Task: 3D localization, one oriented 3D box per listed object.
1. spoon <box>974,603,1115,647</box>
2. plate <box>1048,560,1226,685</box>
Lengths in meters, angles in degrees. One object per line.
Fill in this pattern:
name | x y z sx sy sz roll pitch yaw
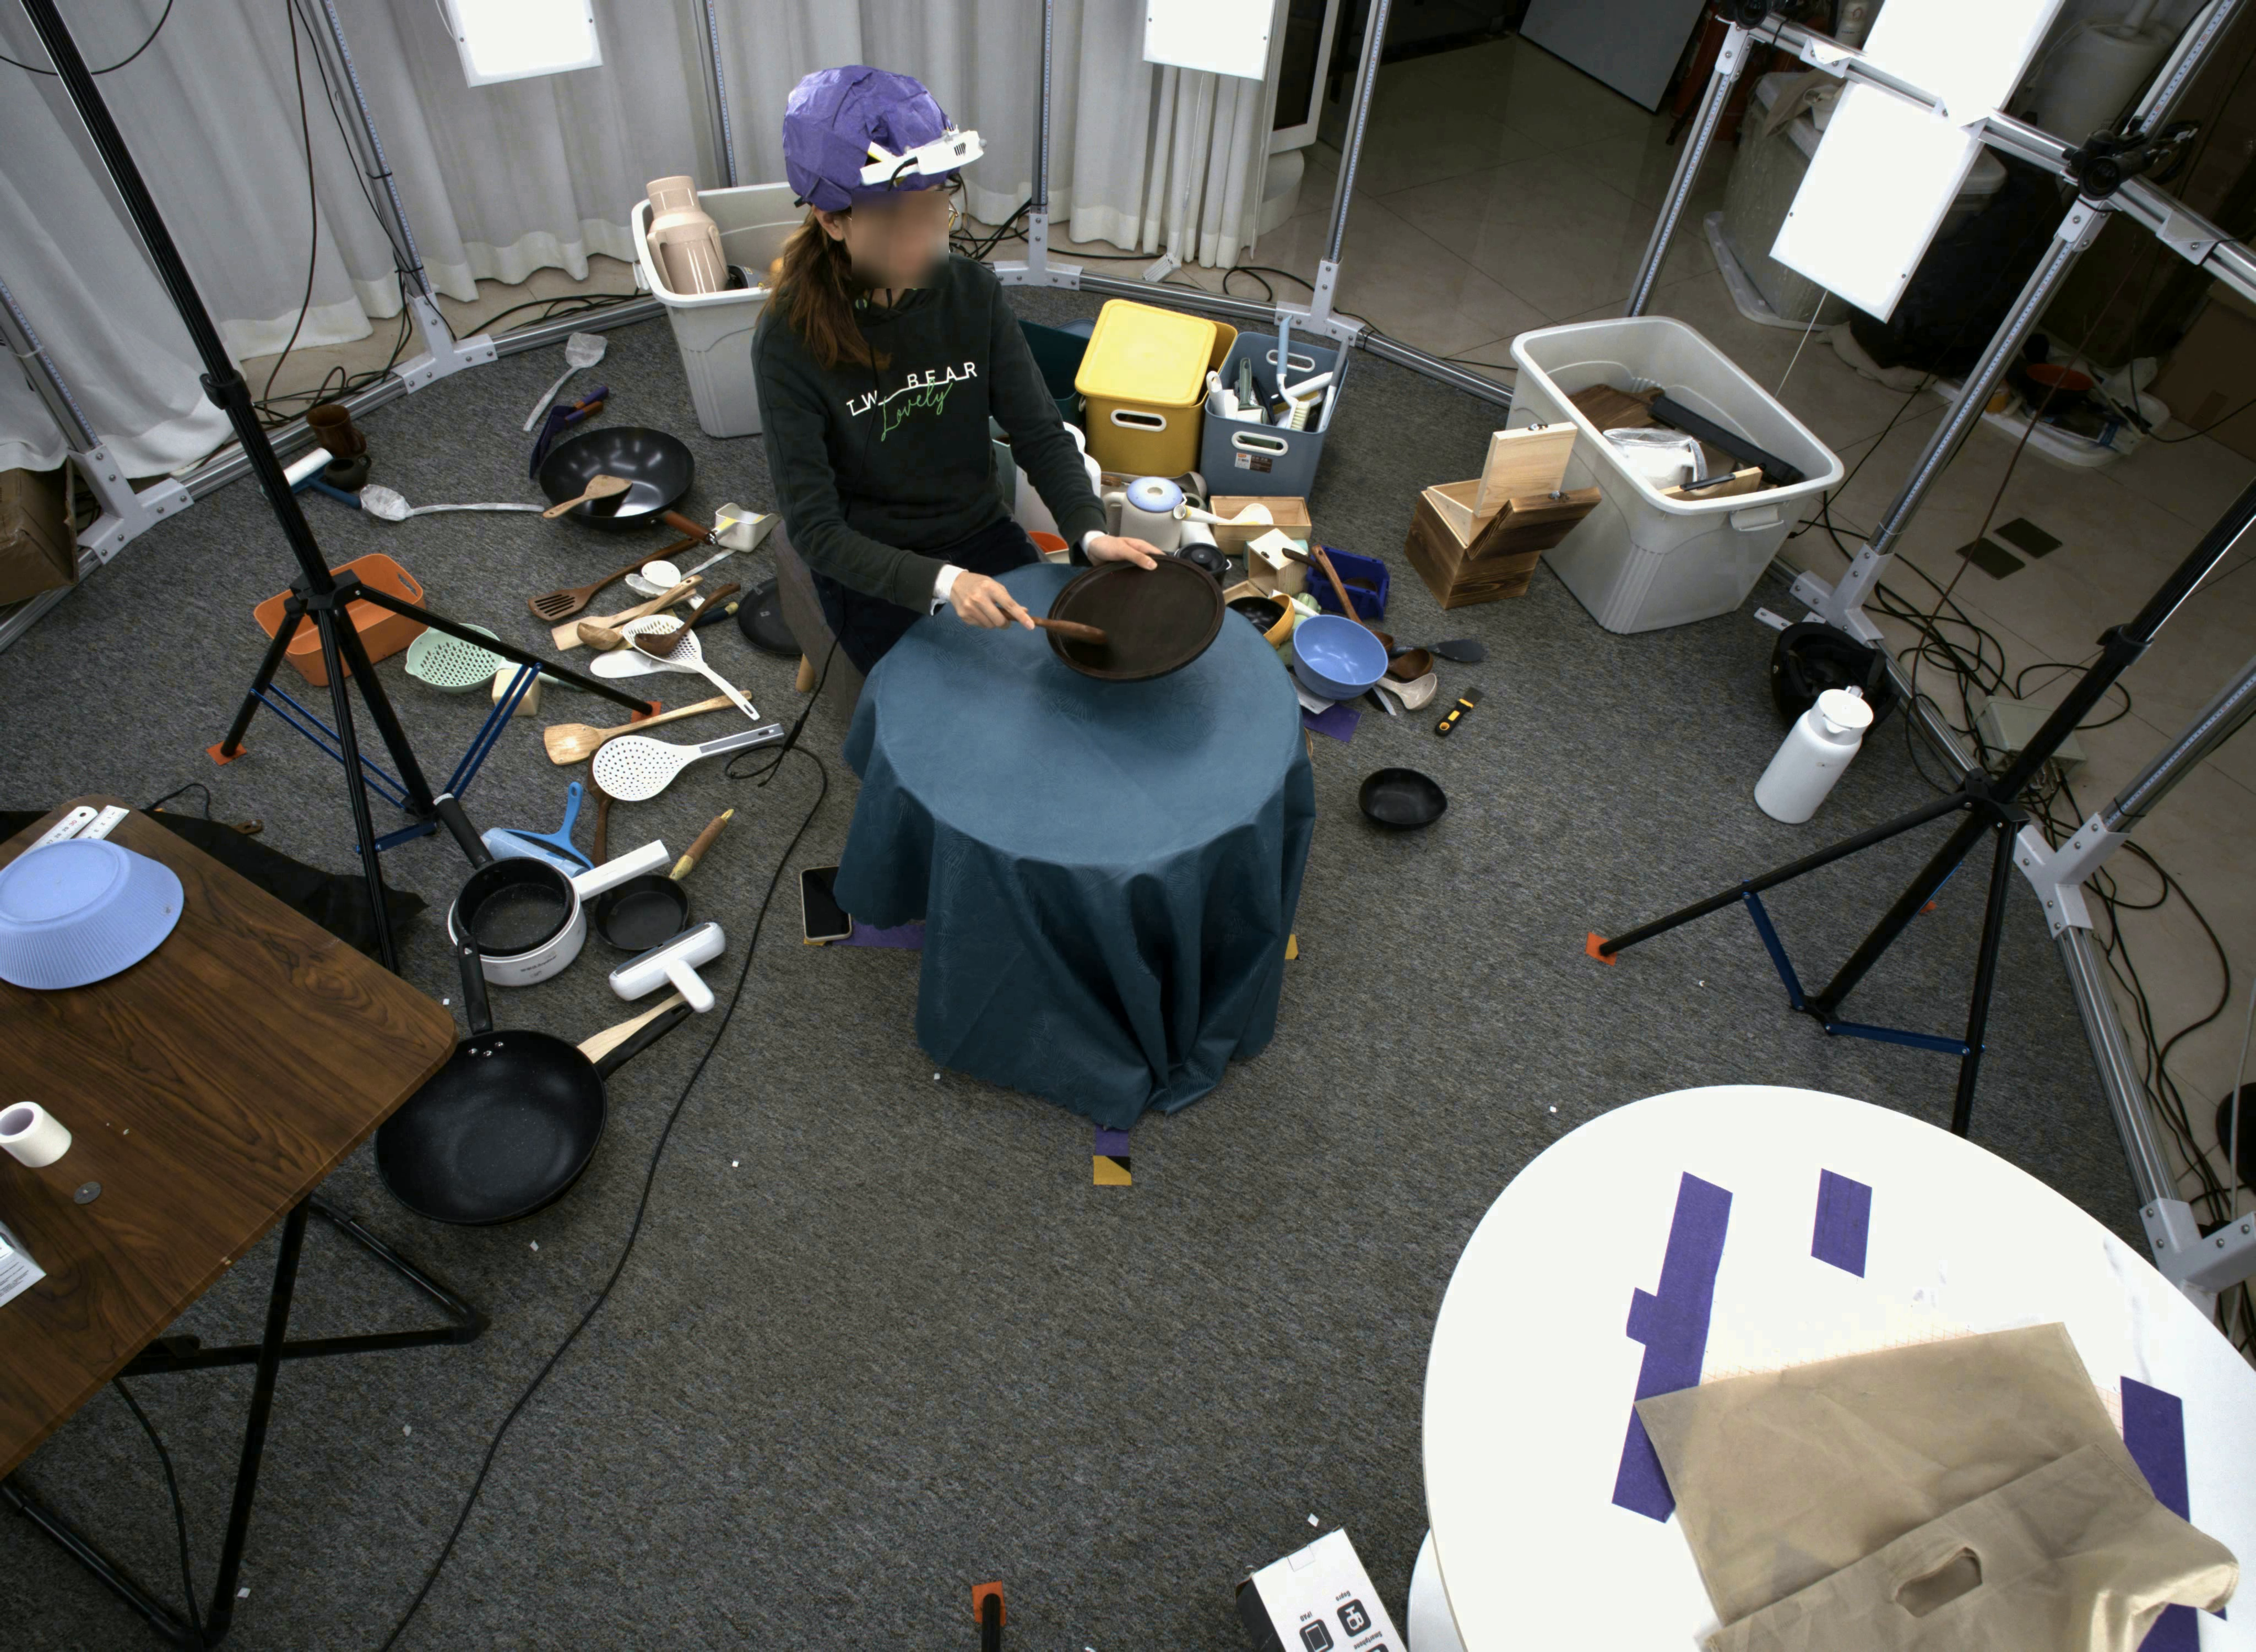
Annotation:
spoon | -0.119 -0.278 1.789 0.217 0.075 0.017 17 93 20
plate | 0.012 -0.289 1.815 0.255 0.028 0.261 -5 50 6
